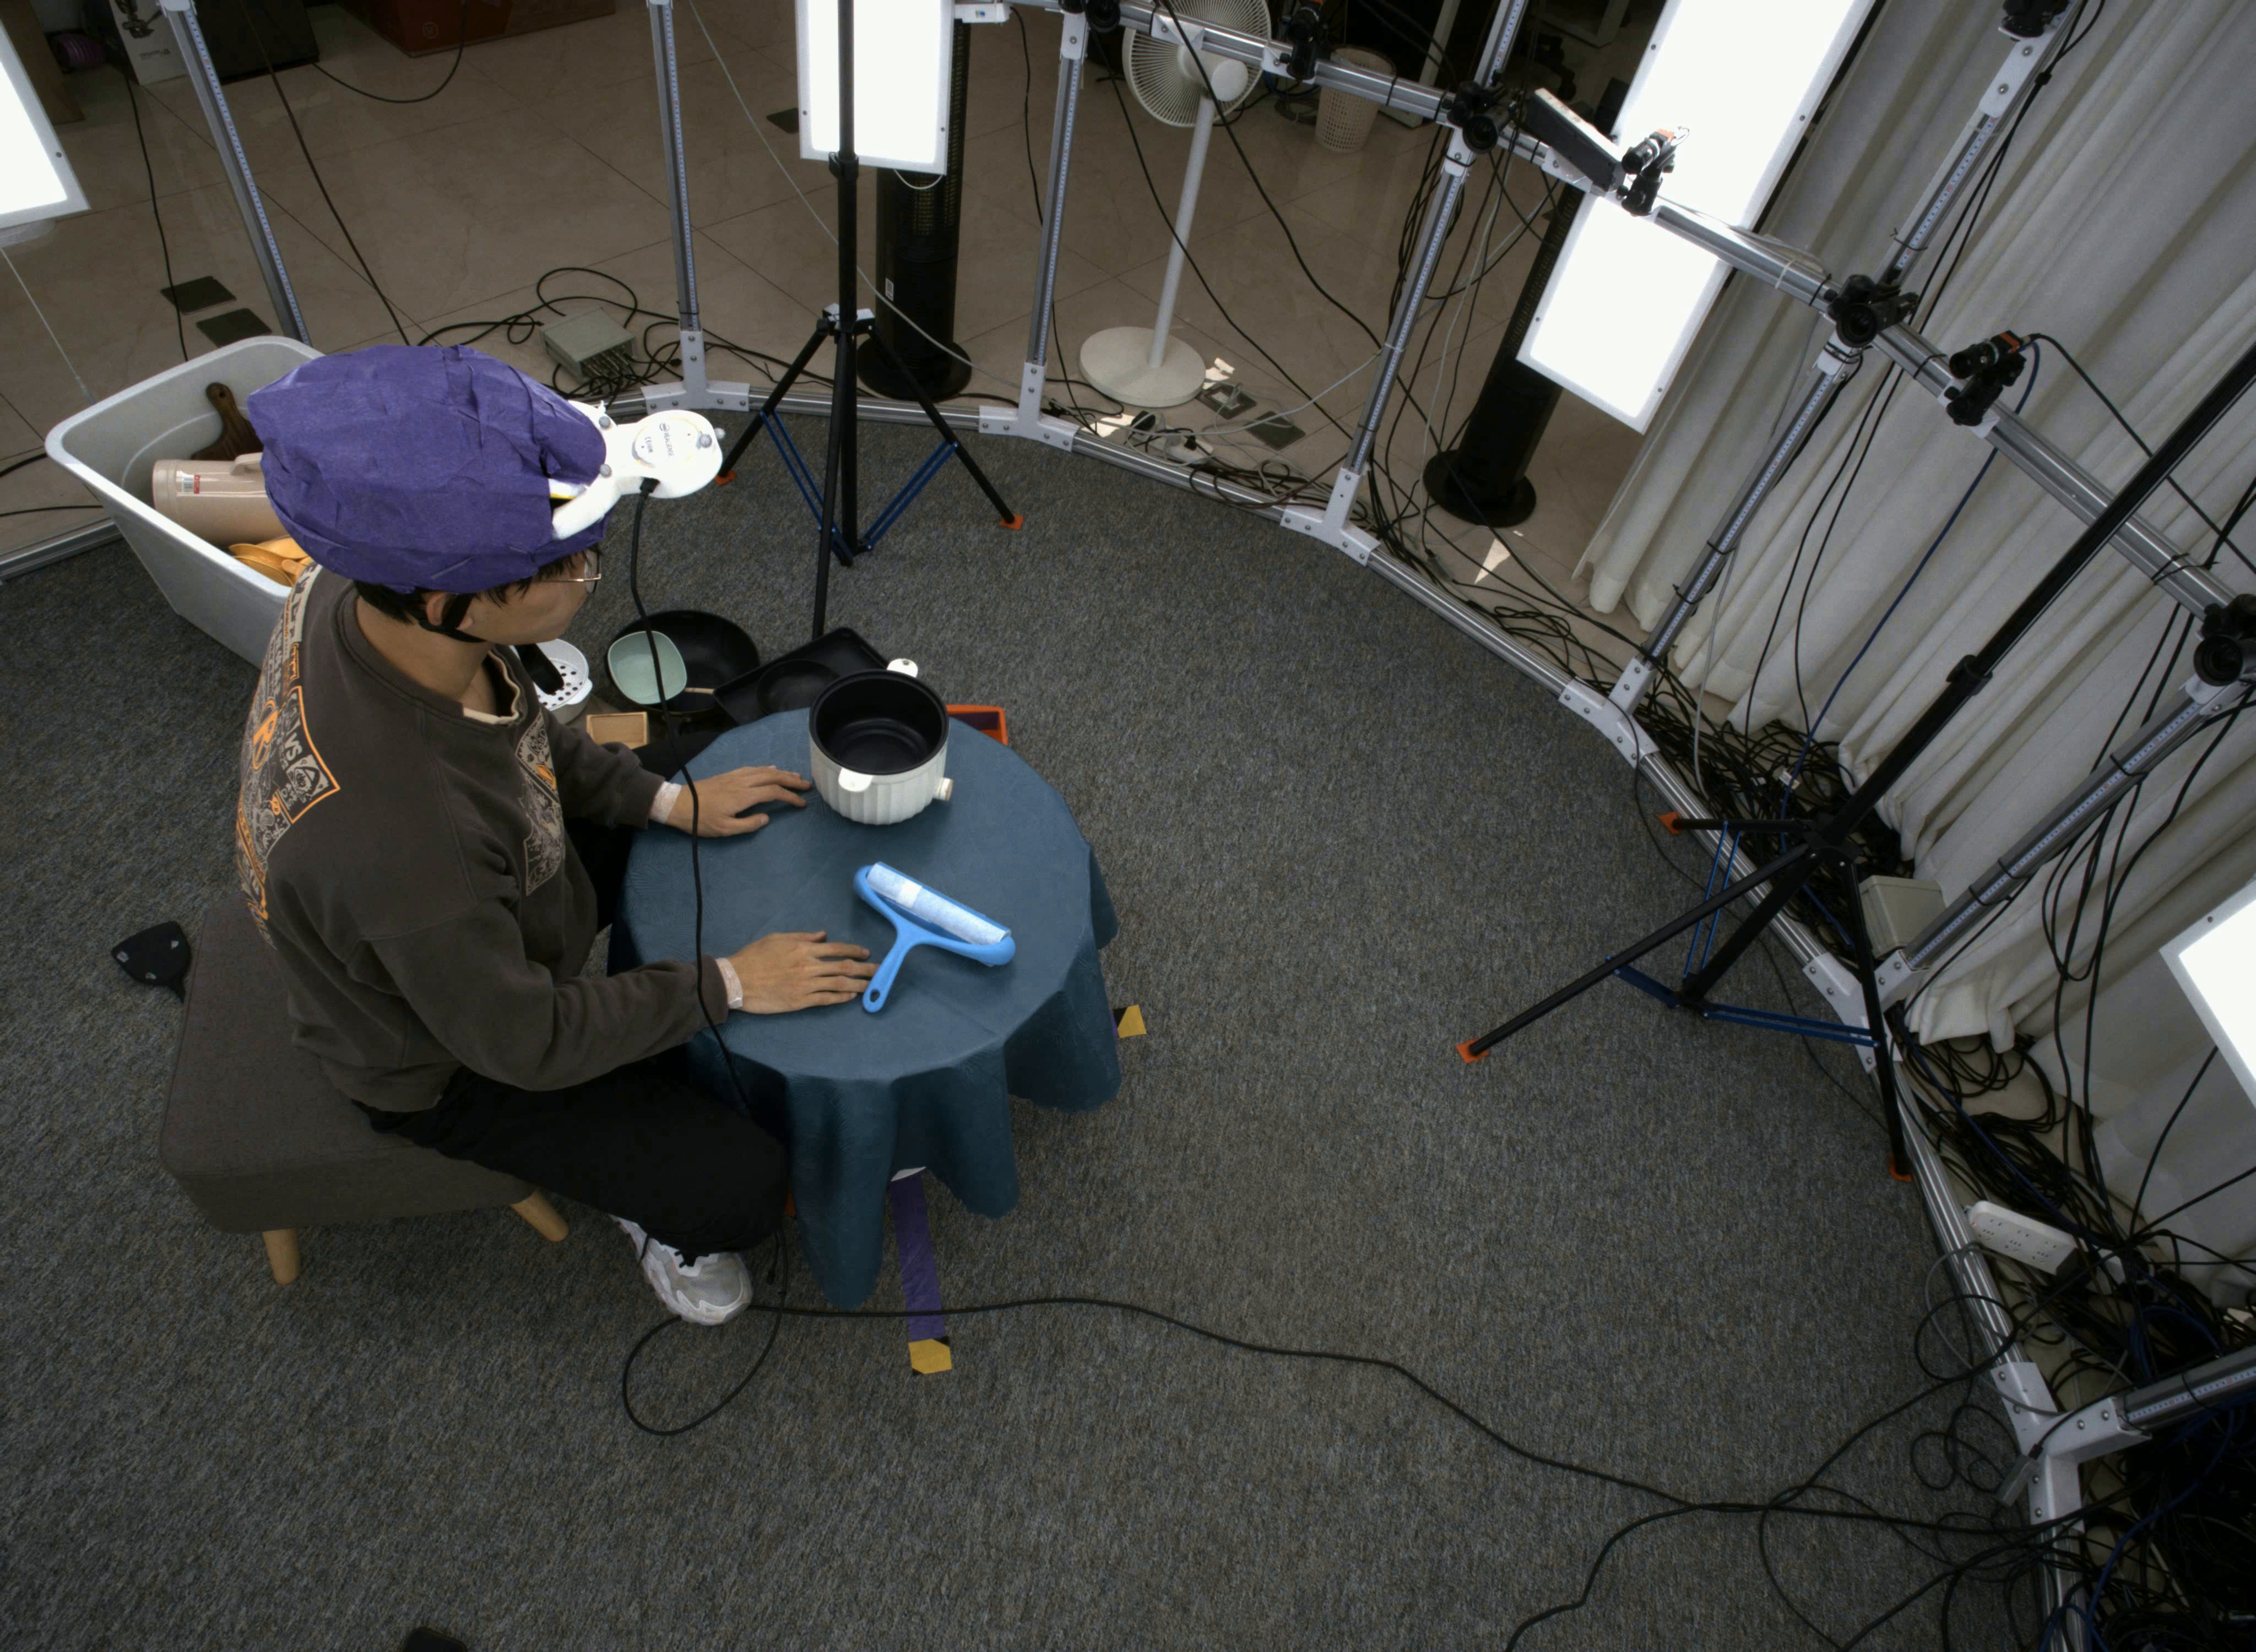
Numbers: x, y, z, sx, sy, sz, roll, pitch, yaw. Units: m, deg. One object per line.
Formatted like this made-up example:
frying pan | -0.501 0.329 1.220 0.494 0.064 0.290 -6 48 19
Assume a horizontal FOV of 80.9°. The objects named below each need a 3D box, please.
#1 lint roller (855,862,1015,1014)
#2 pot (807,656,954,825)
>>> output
lint roller | -0.270 0.150 1.629 0.226 0.069 0.179 26 51 5
pot | -0.329 -0.098 1.745 0.188 0.146 0.237 12 53 1
